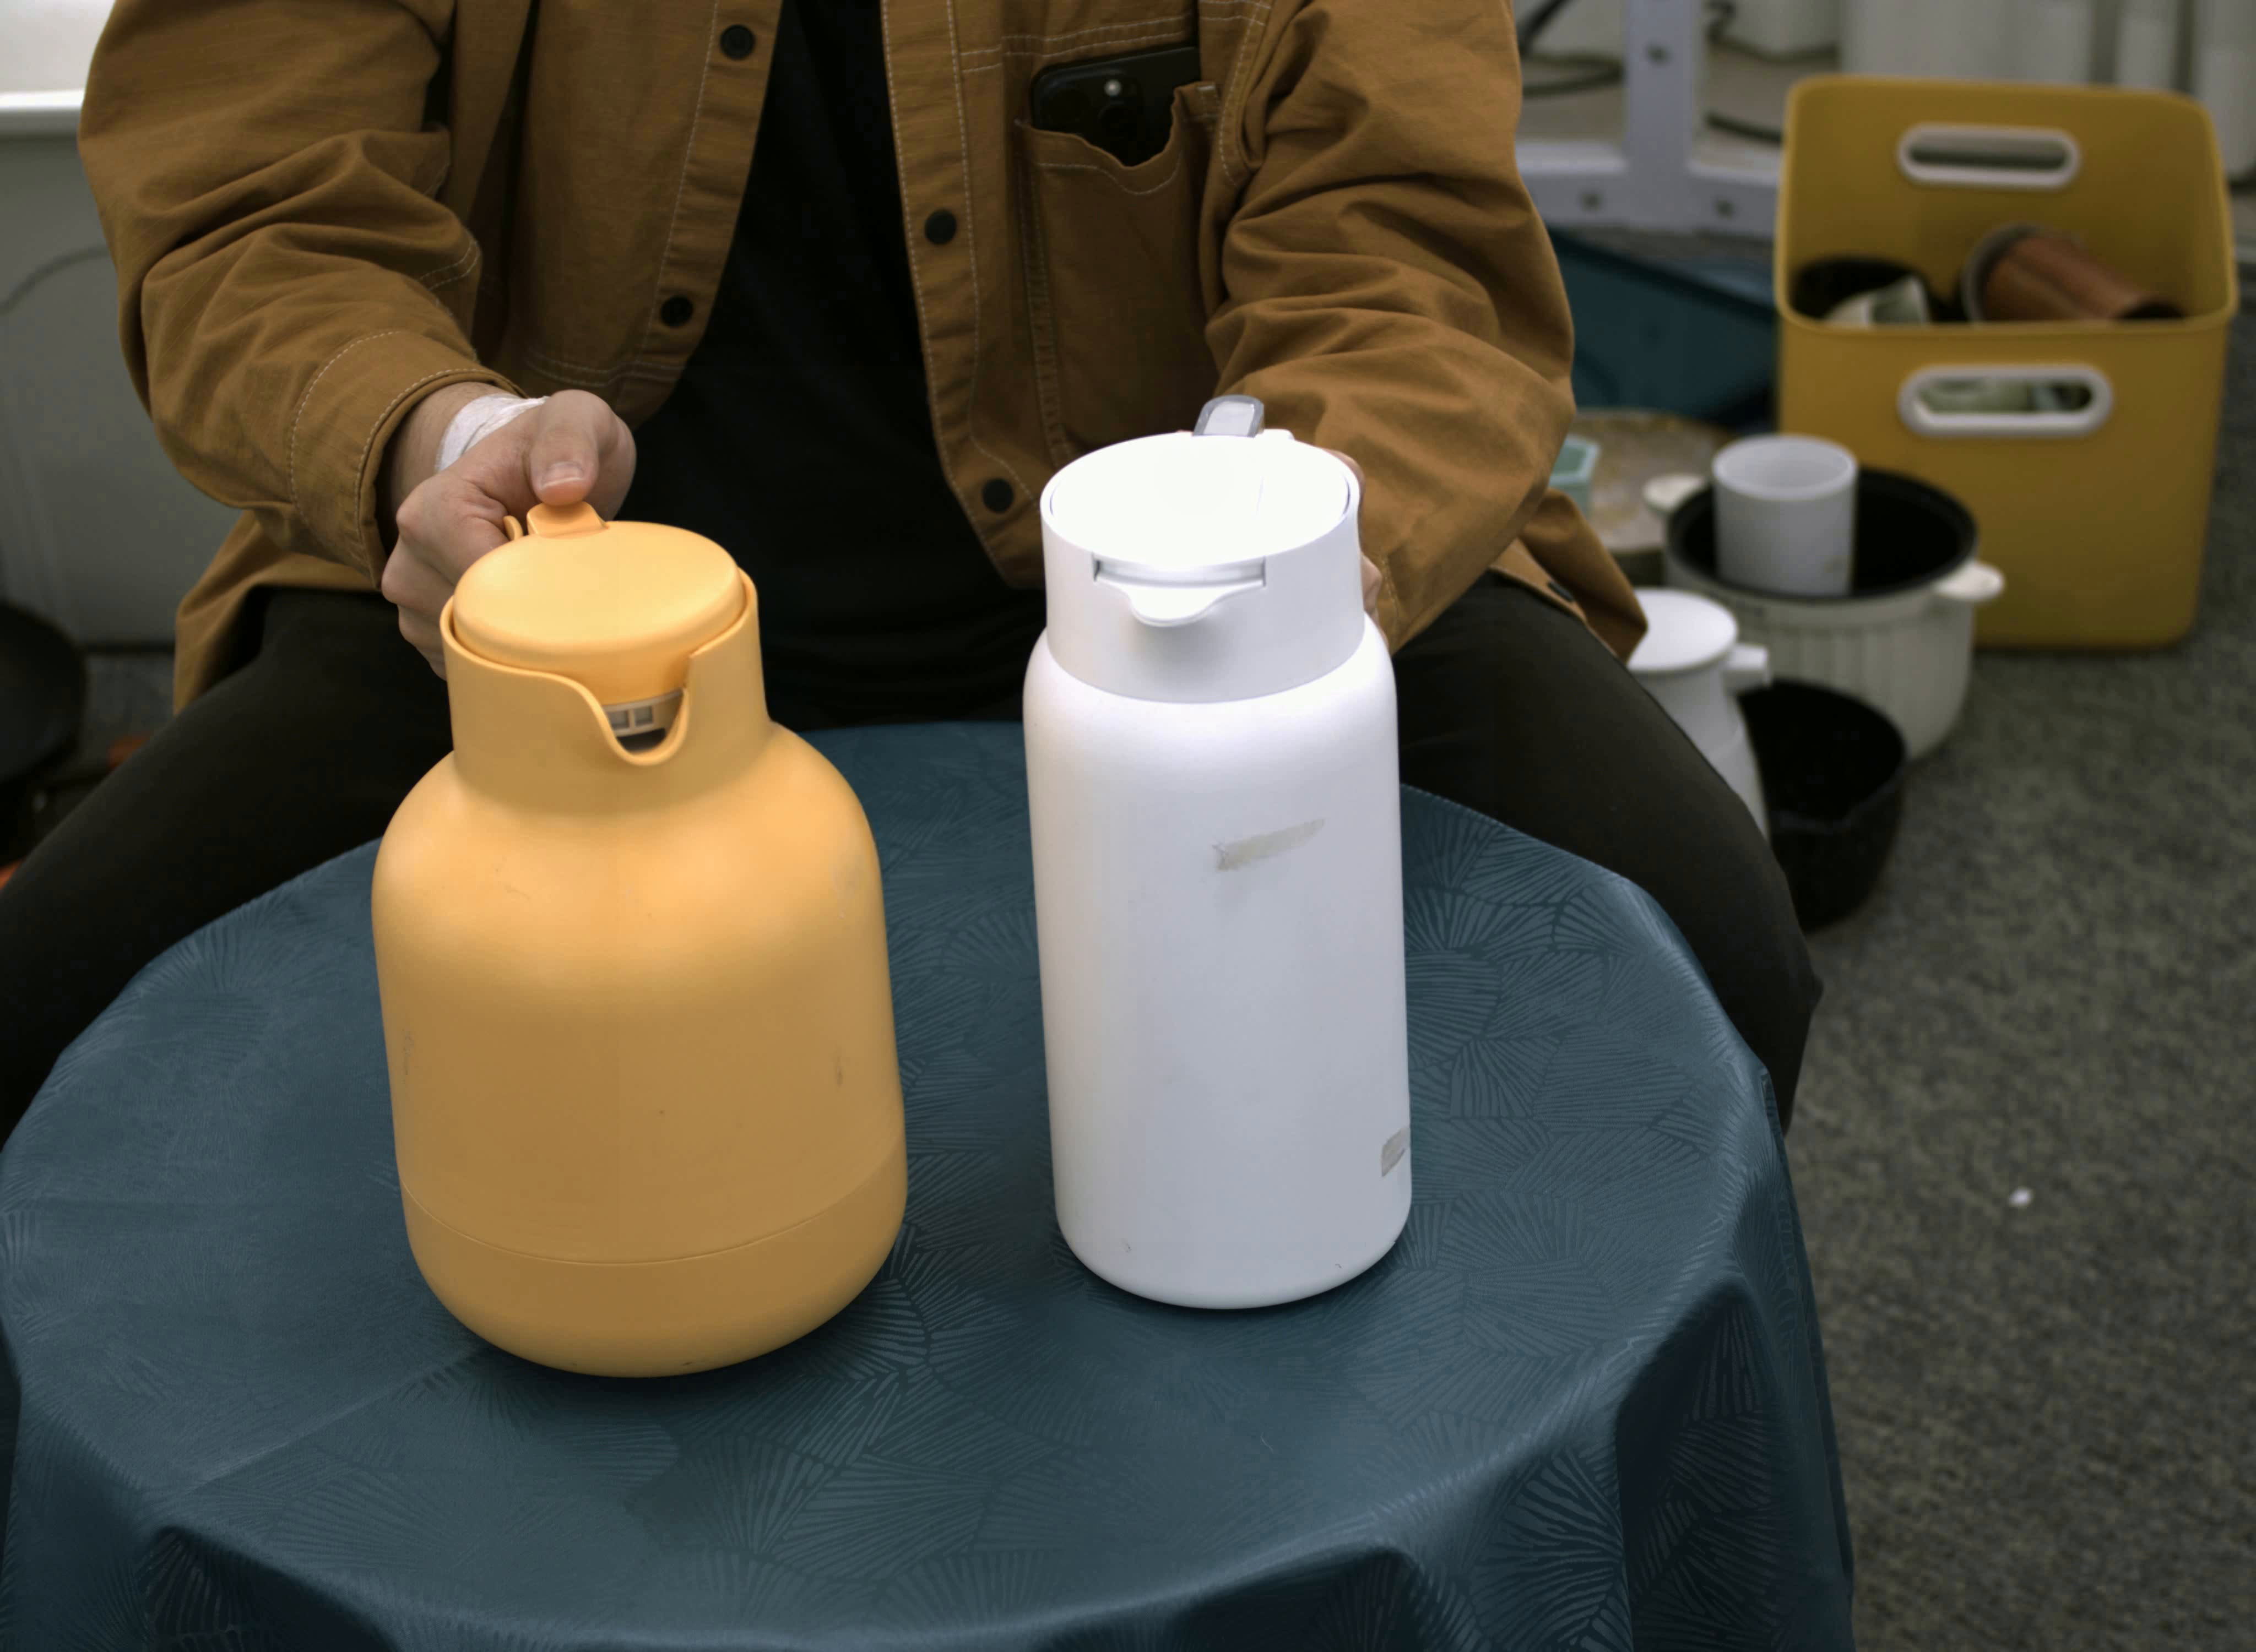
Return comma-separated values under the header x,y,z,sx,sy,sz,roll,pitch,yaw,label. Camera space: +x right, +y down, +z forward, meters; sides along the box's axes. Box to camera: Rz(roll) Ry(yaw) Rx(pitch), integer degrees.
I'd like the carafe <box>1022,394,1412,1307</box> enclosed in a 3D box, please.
x,y,z,sx,sy,sz,roll,pitch,yaw,label
0.030,0.004,1.795,0.123,0.266,0.175,0,26,10,carafe

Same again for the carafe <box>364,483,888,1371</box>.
x,y,z,sx,sy,sz,roll,pitch,yaw,label
-0.162,0.022,1.782,0.163,0.257,0.205,-5,28,-13,carafe
